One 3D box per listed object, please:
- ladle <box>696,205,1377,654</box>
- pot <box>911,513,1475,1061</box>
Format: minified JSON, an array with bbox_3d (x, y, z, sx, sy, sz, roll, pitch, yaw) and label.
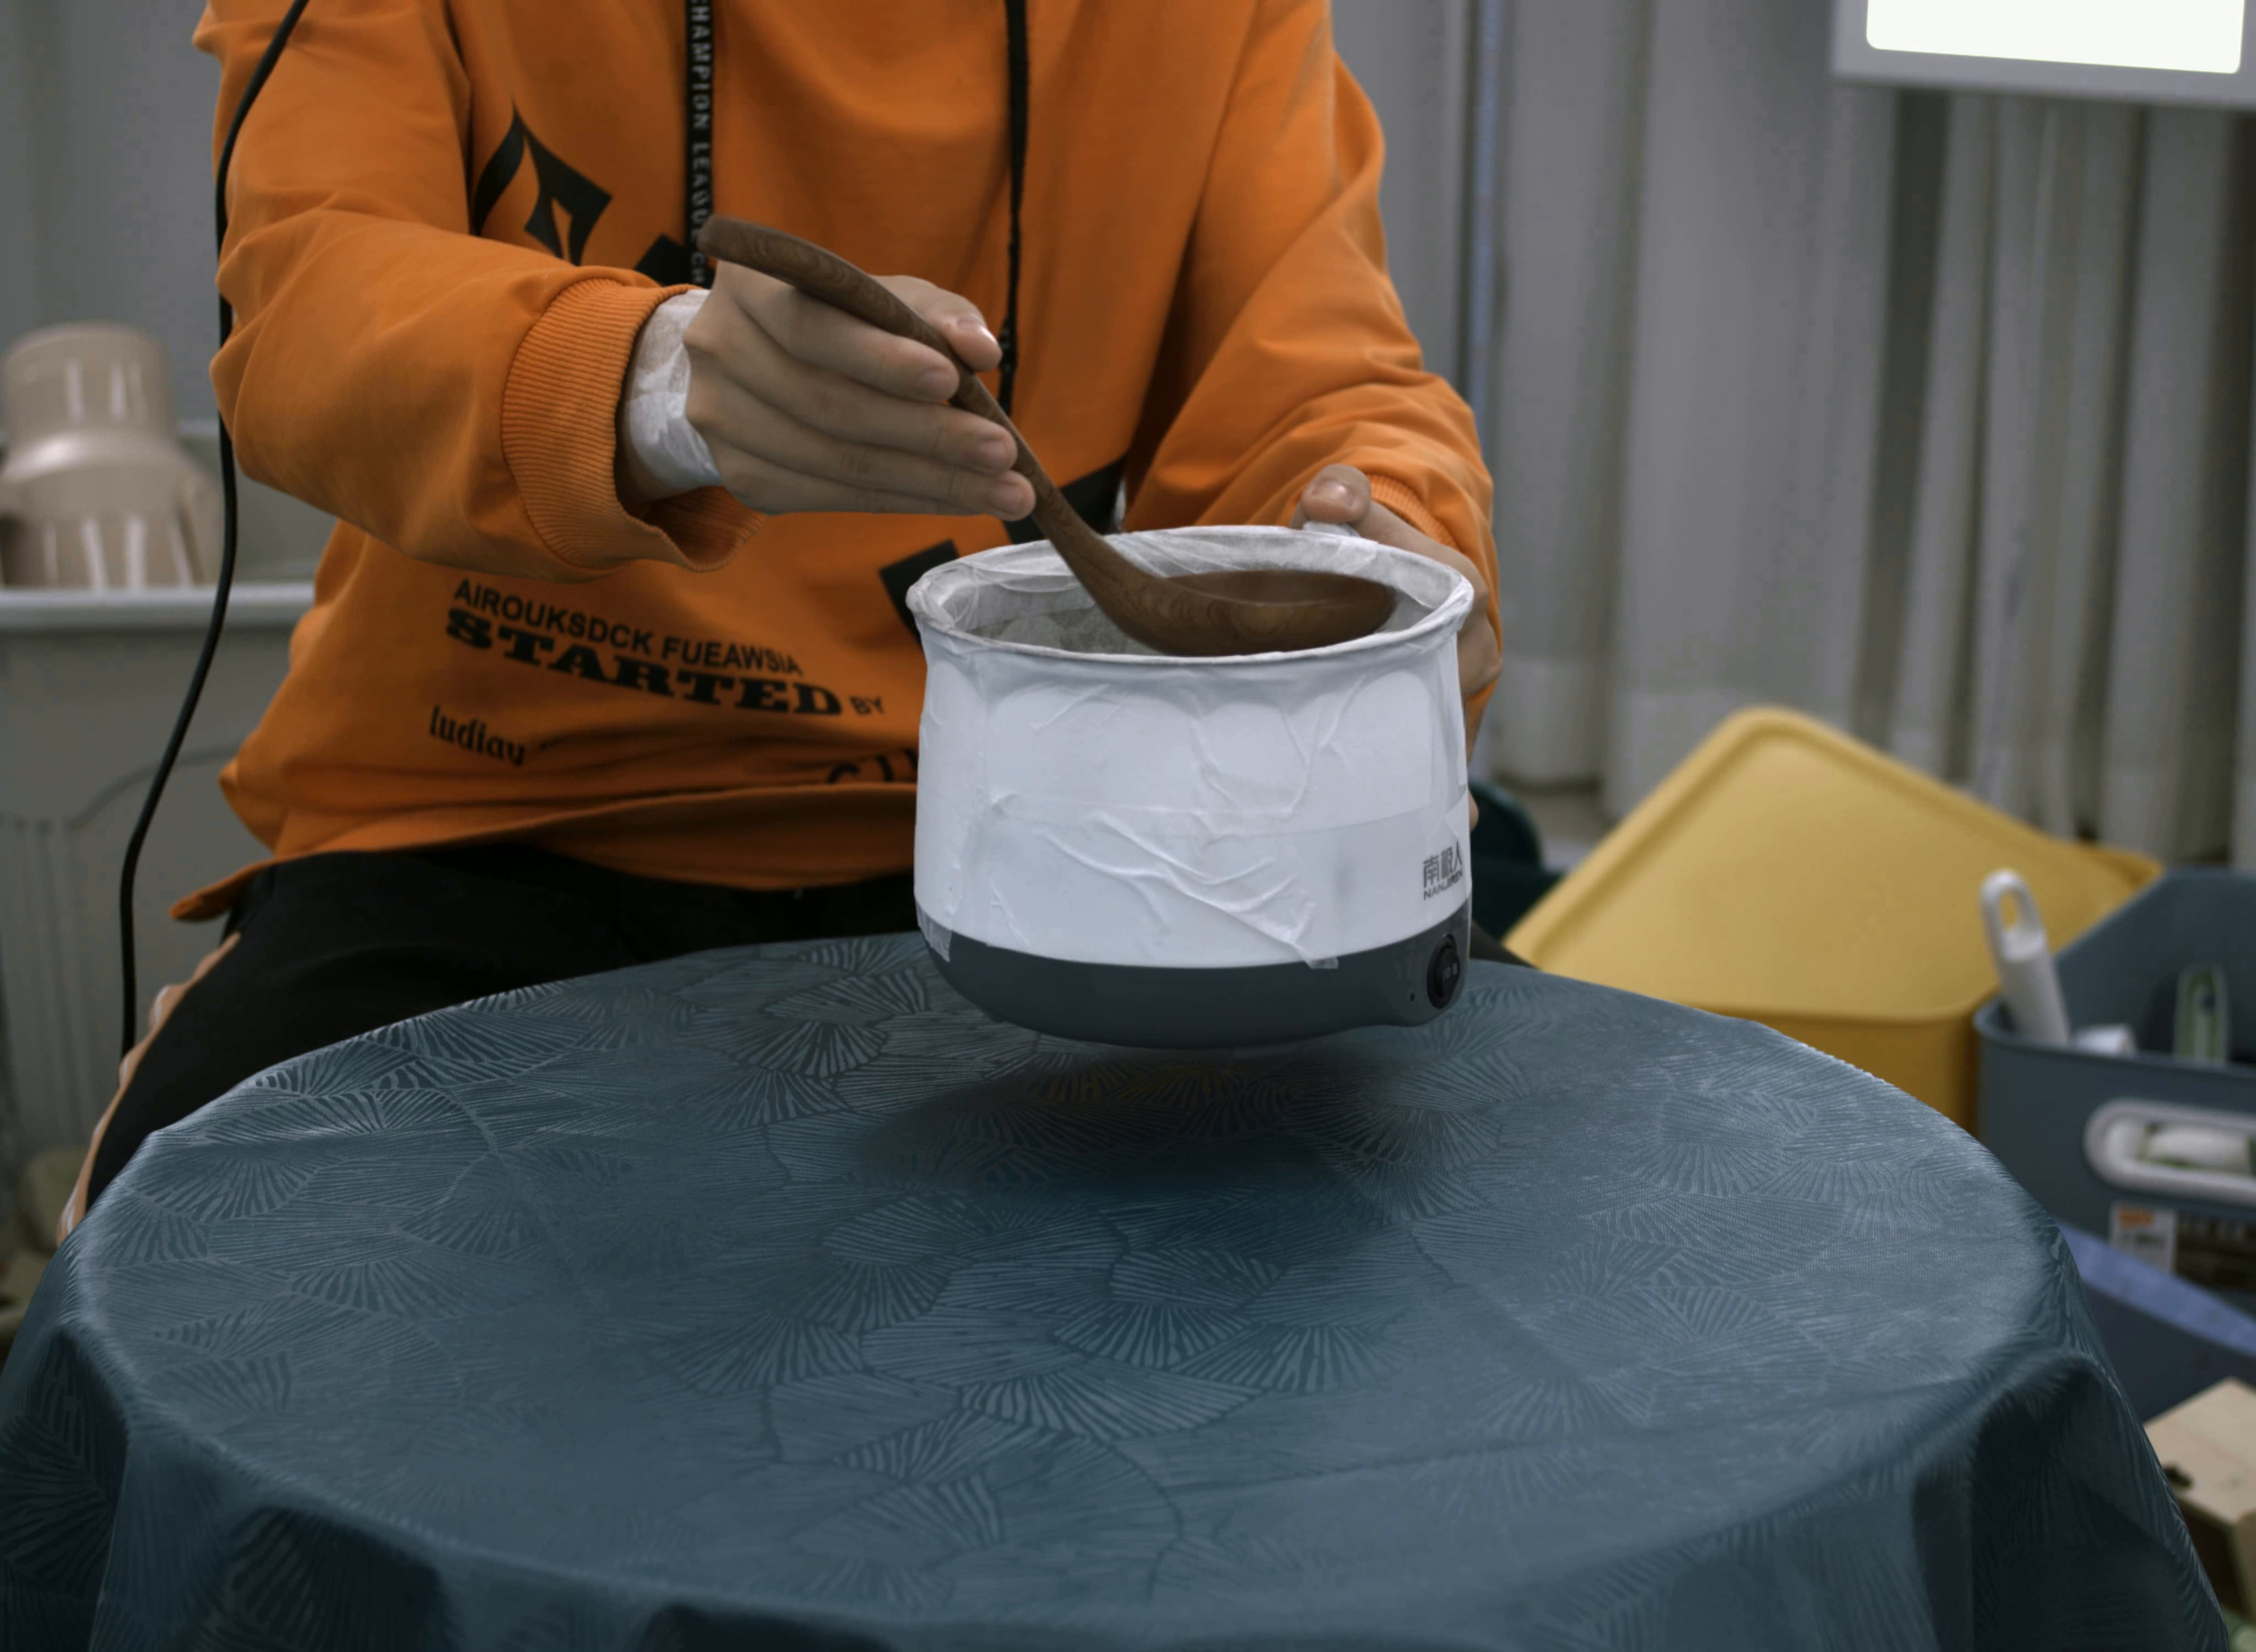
[{"bbox_3d":[-0.025,-0.124,1.598,0.263,0.065,0.075,41,-18,-30],"label":"ladle"},{"bbox_3d":[0.032,-0.019,1.682,0.177,0.138,0.234,8,18,24],"label":"pot"}]
